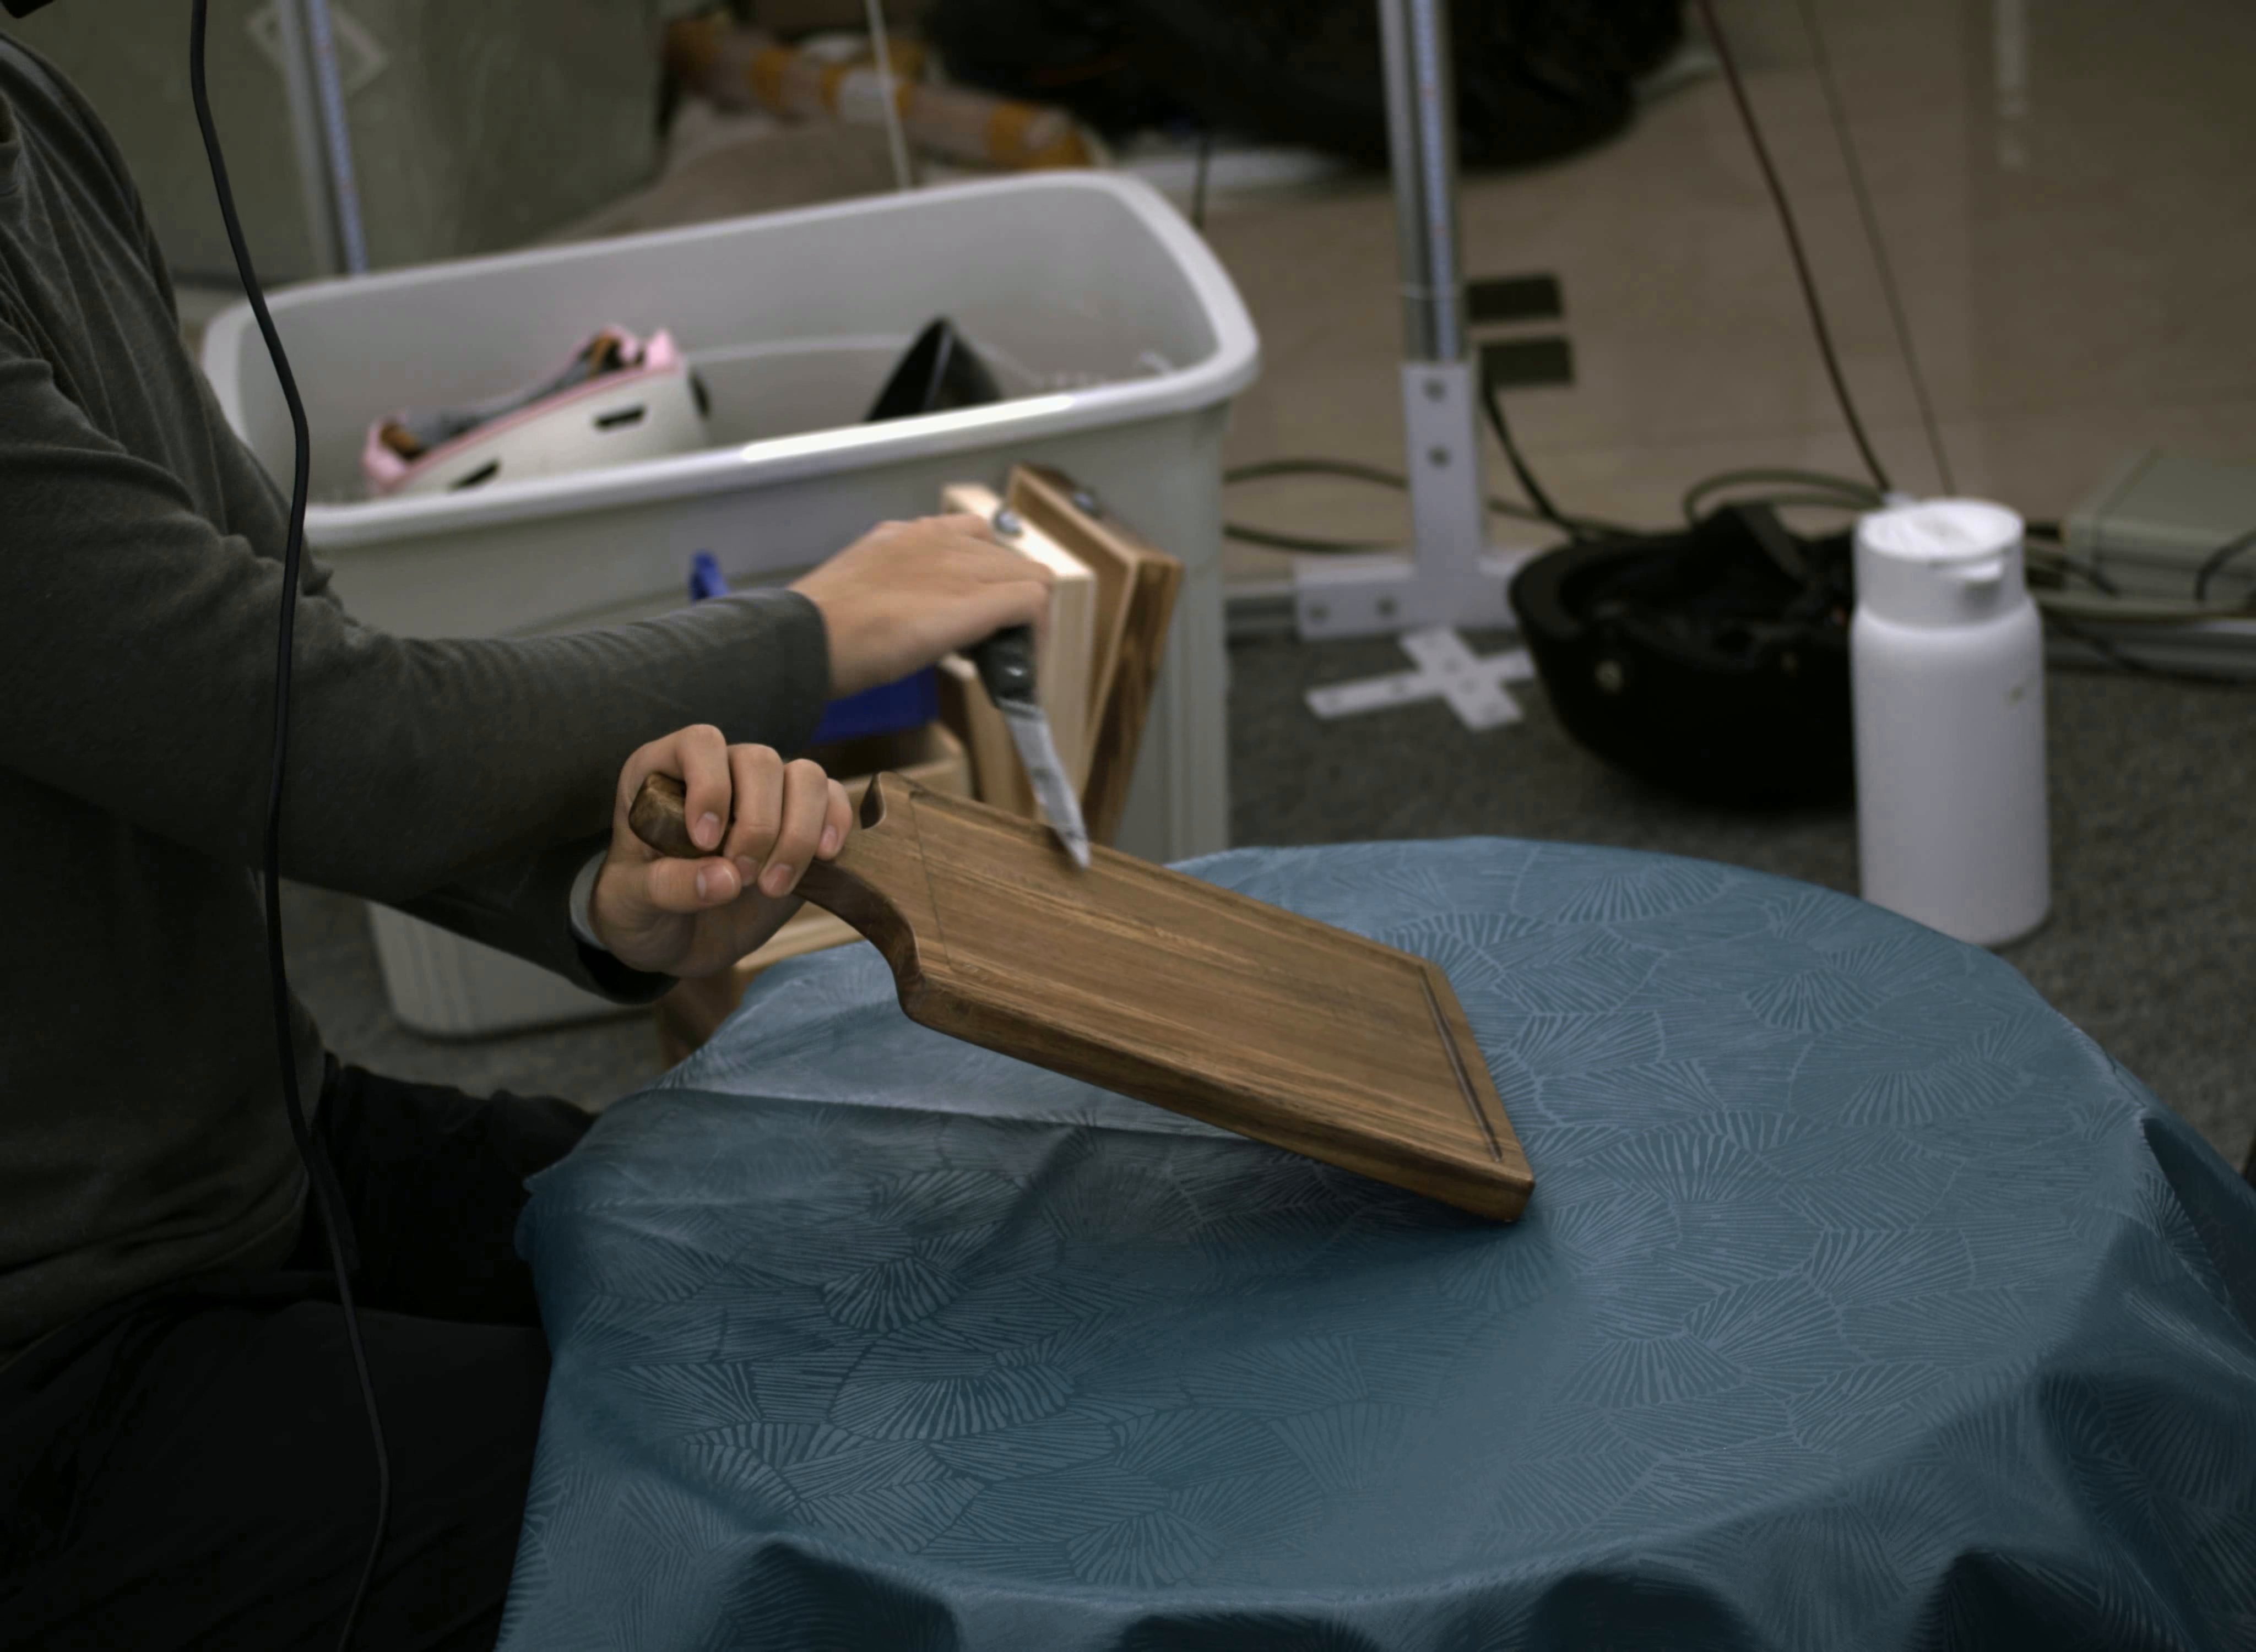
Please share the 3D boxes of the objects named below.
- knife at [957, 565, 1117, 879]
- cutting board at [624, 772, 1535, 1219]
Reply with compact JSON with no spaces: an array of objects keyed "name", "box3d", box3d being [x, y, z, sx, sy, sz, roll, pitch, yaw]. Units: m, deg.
[{"name":"knife","box3d":[-0.037,-0.044,2.274,0.024,0.016,0.234,17,26,-26]},{"name":"cutting board","box3d":[-0.023,0.046,2.129,0.353,0.023,0.198,19,20,-17]}]
